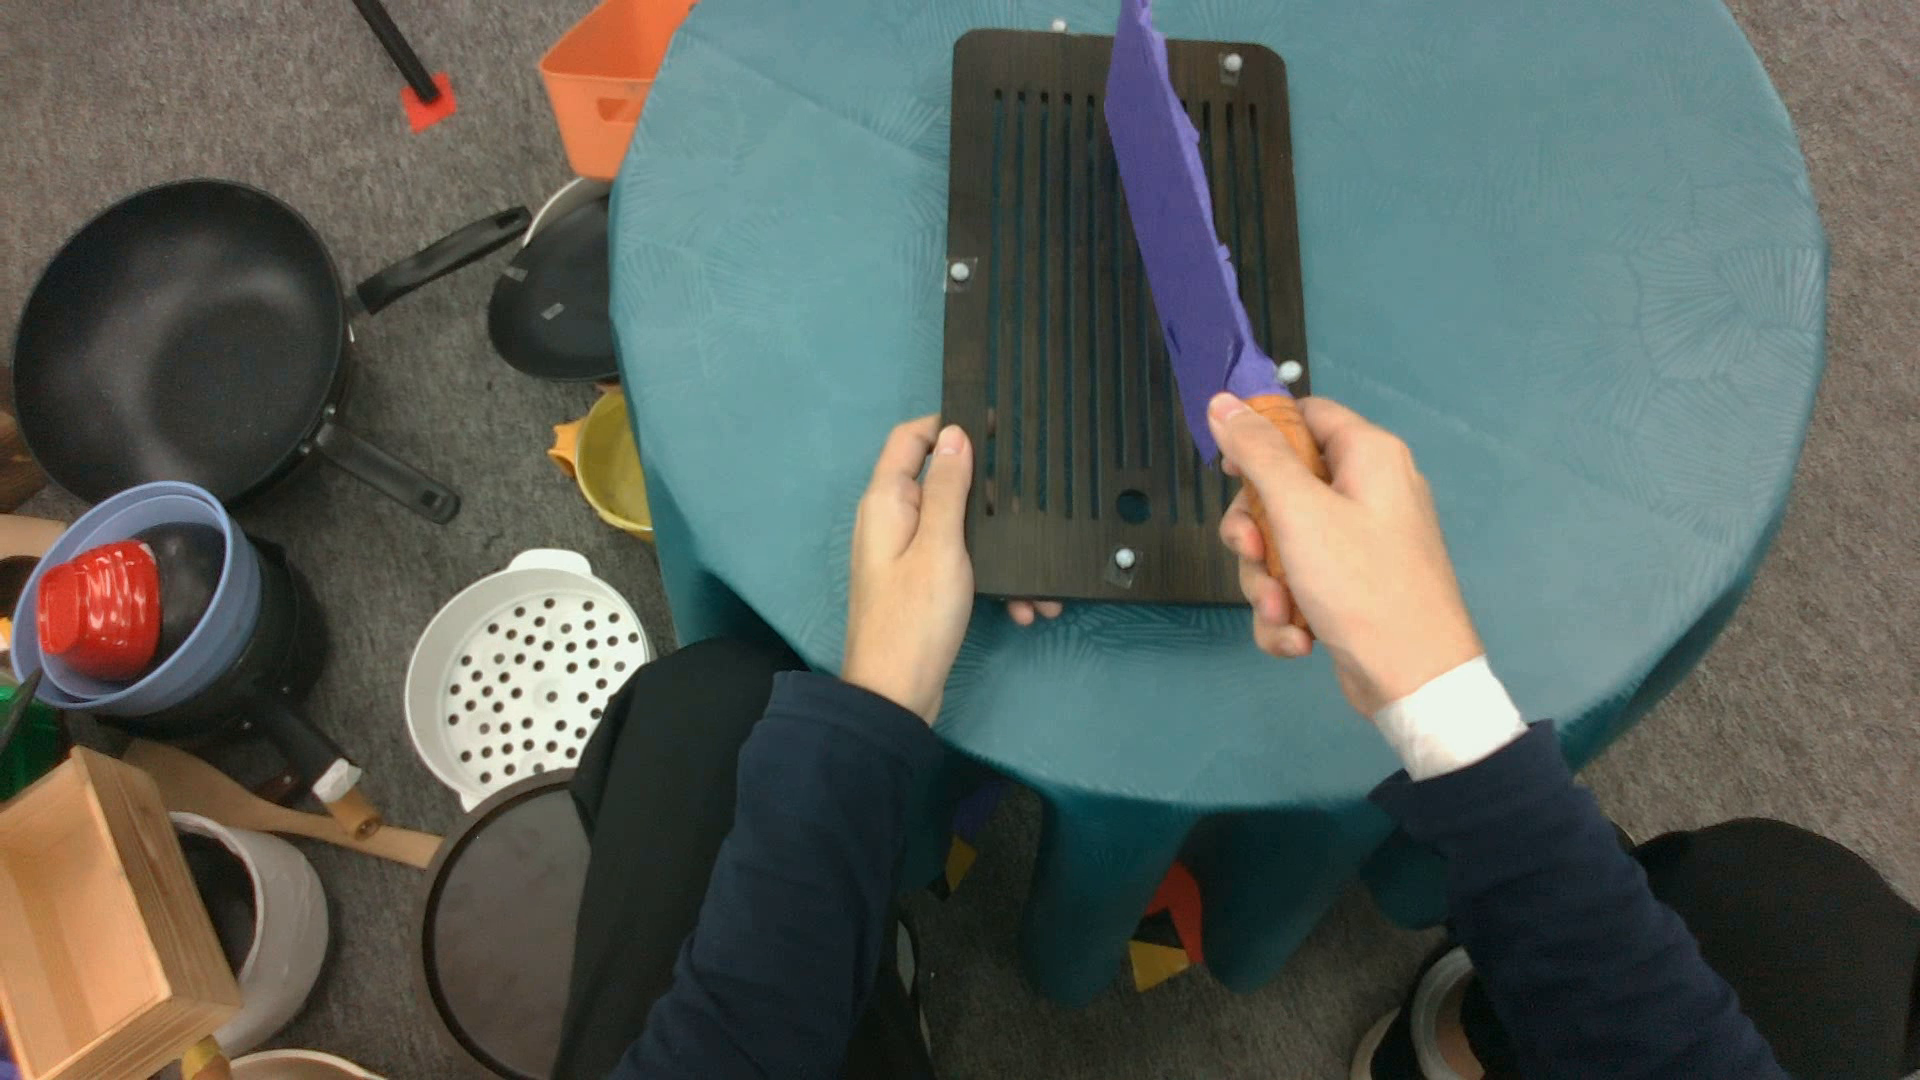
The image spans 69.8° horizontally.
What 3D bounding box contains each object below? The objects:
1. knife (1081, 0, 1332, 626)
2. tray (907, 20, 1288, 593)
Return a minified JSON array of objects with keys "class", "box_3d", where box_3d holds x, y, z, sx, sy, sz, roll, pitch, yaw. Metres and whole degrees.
[{"class":"knife","box_3d":[0.094,-0.103,0.582,0.032,0.103,0.316,-7,66,-6]},{"class":"tray","box_3d":[0.062,-0.119,0.653,0.170,0.018,0.307,2,67,-4]}]
